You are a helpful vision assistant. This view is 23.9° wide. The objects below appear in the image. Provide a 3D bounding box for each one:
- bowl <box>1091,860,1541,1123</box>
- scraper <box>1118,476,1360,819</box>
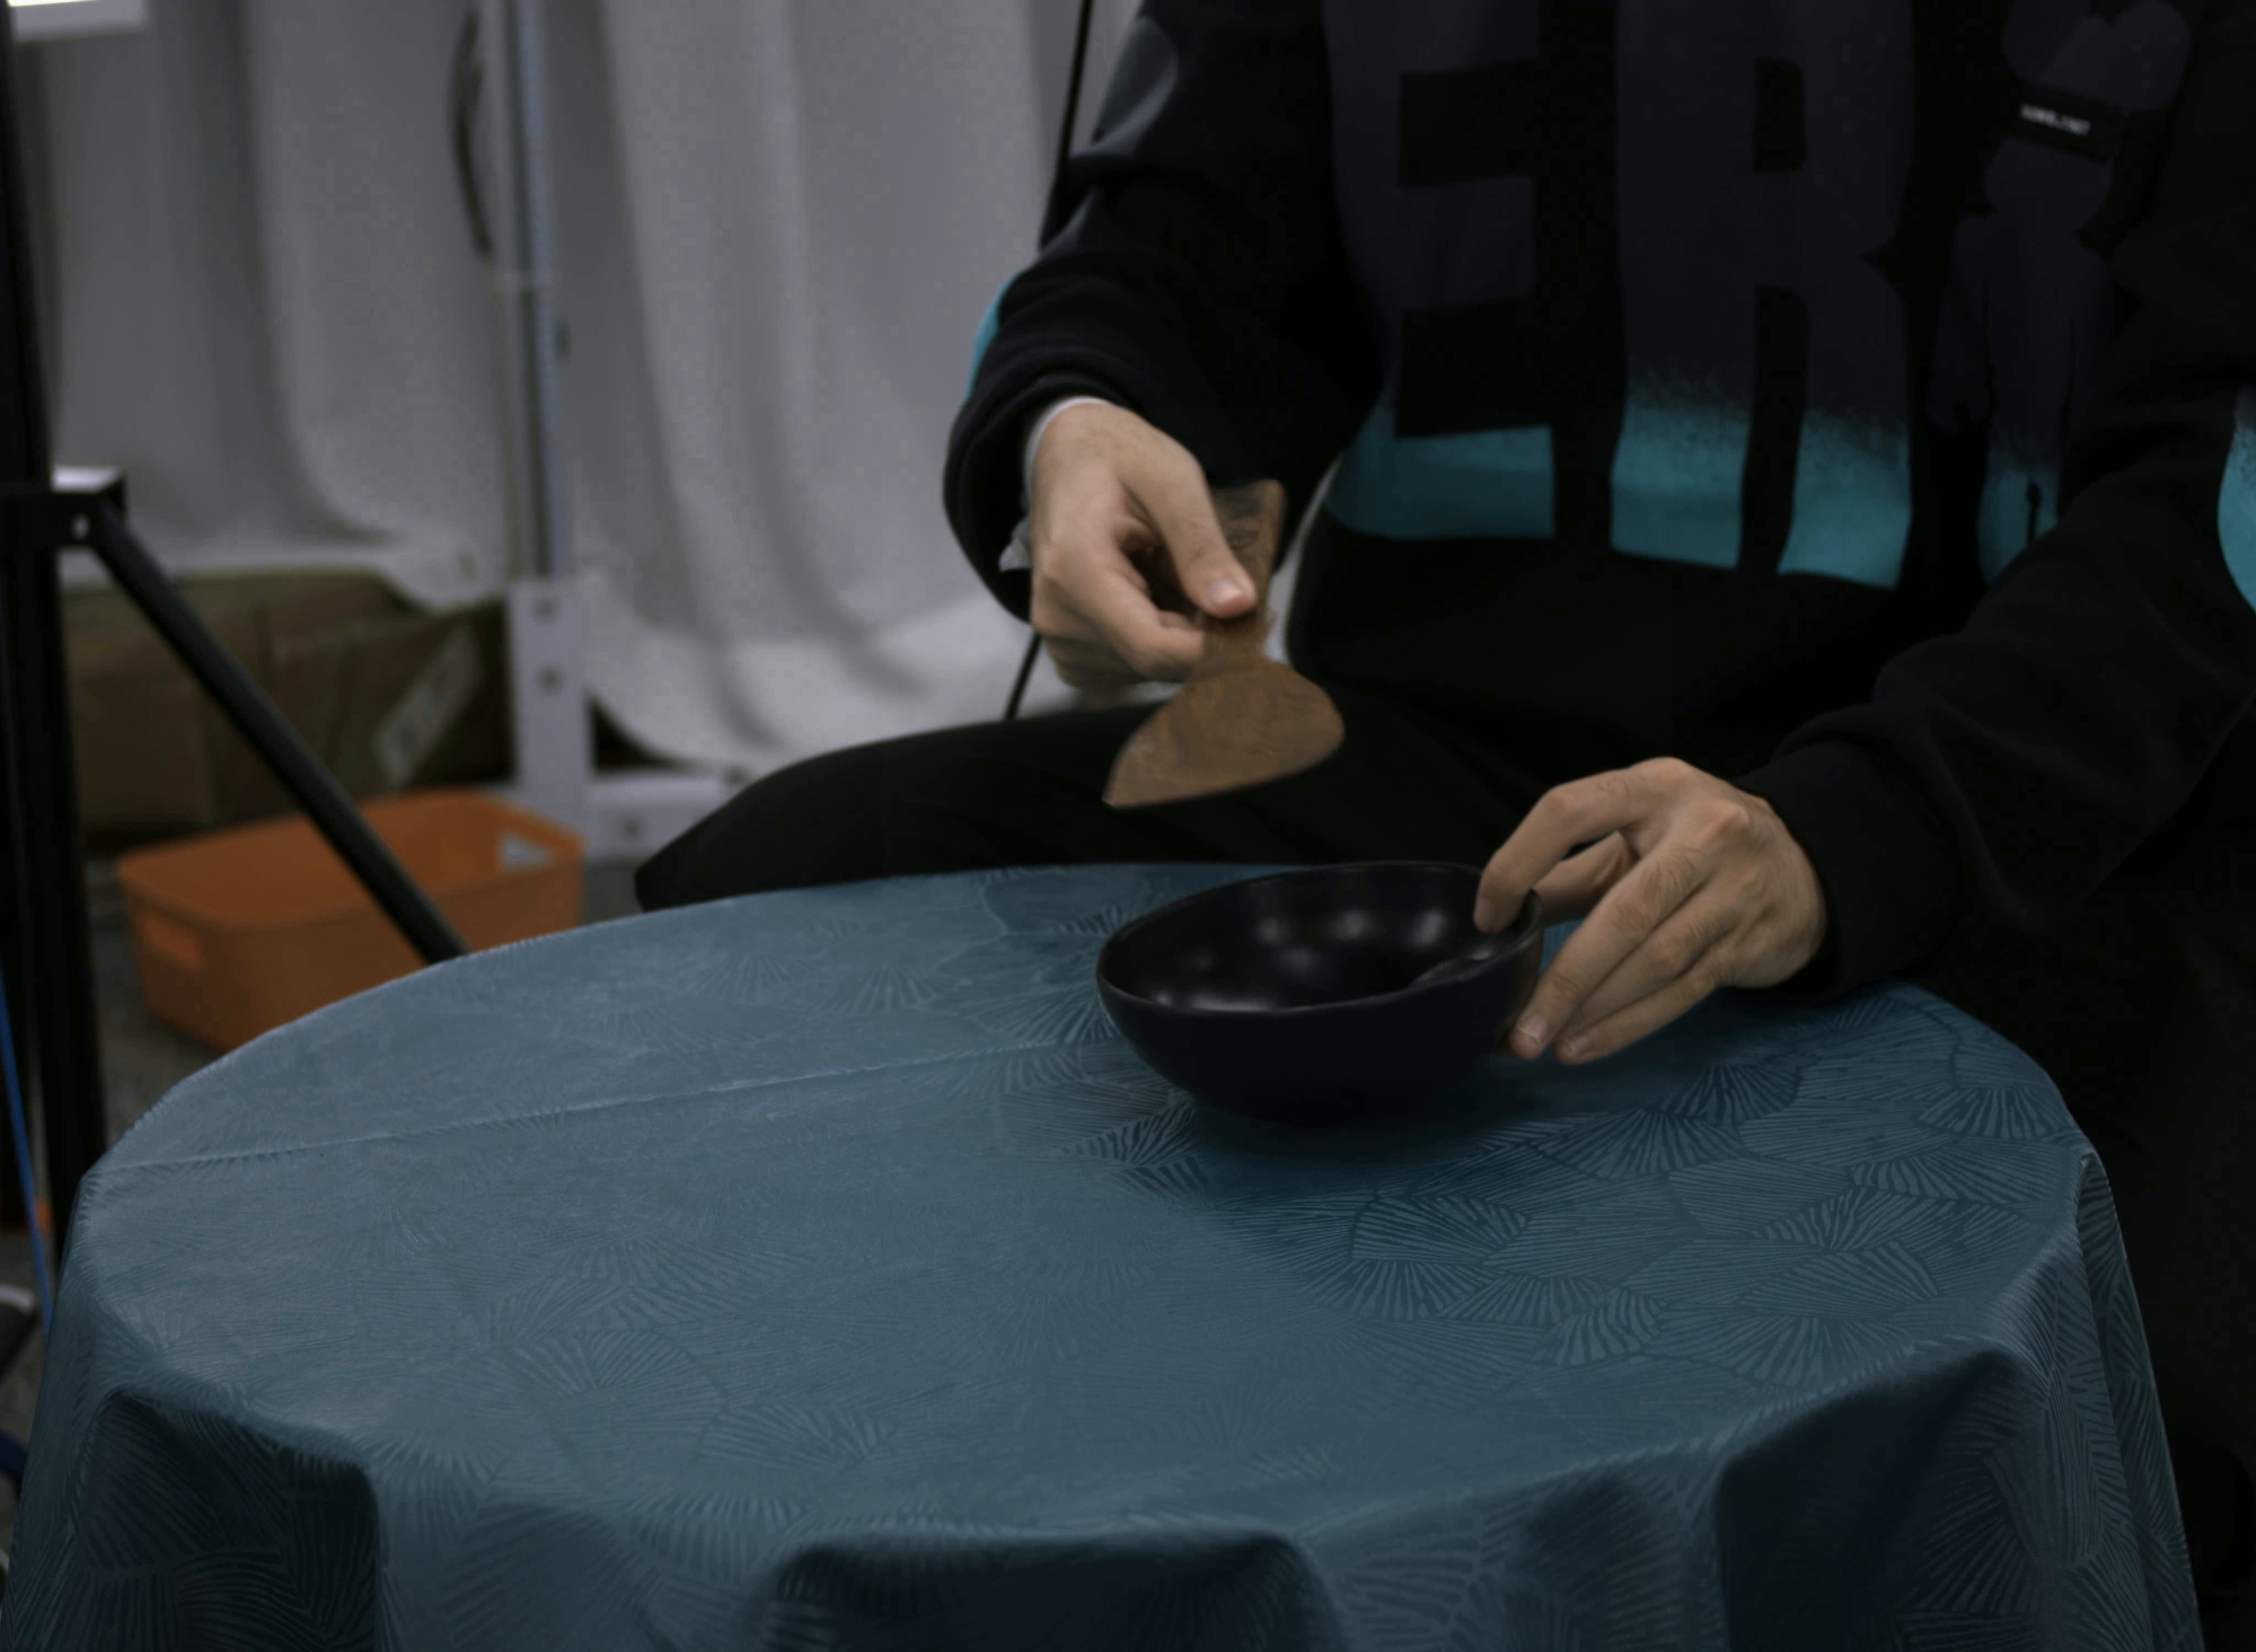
[{"bbox_3d":[0.061,0.056,1.617,0.139,0.049,0.141,-11,15,1],"label":"bowl"},{"bbox_3d":[0.037,-0.059,1.694,0.076,0.011,0.212,-12,30,10],"label":"scraper"}]
